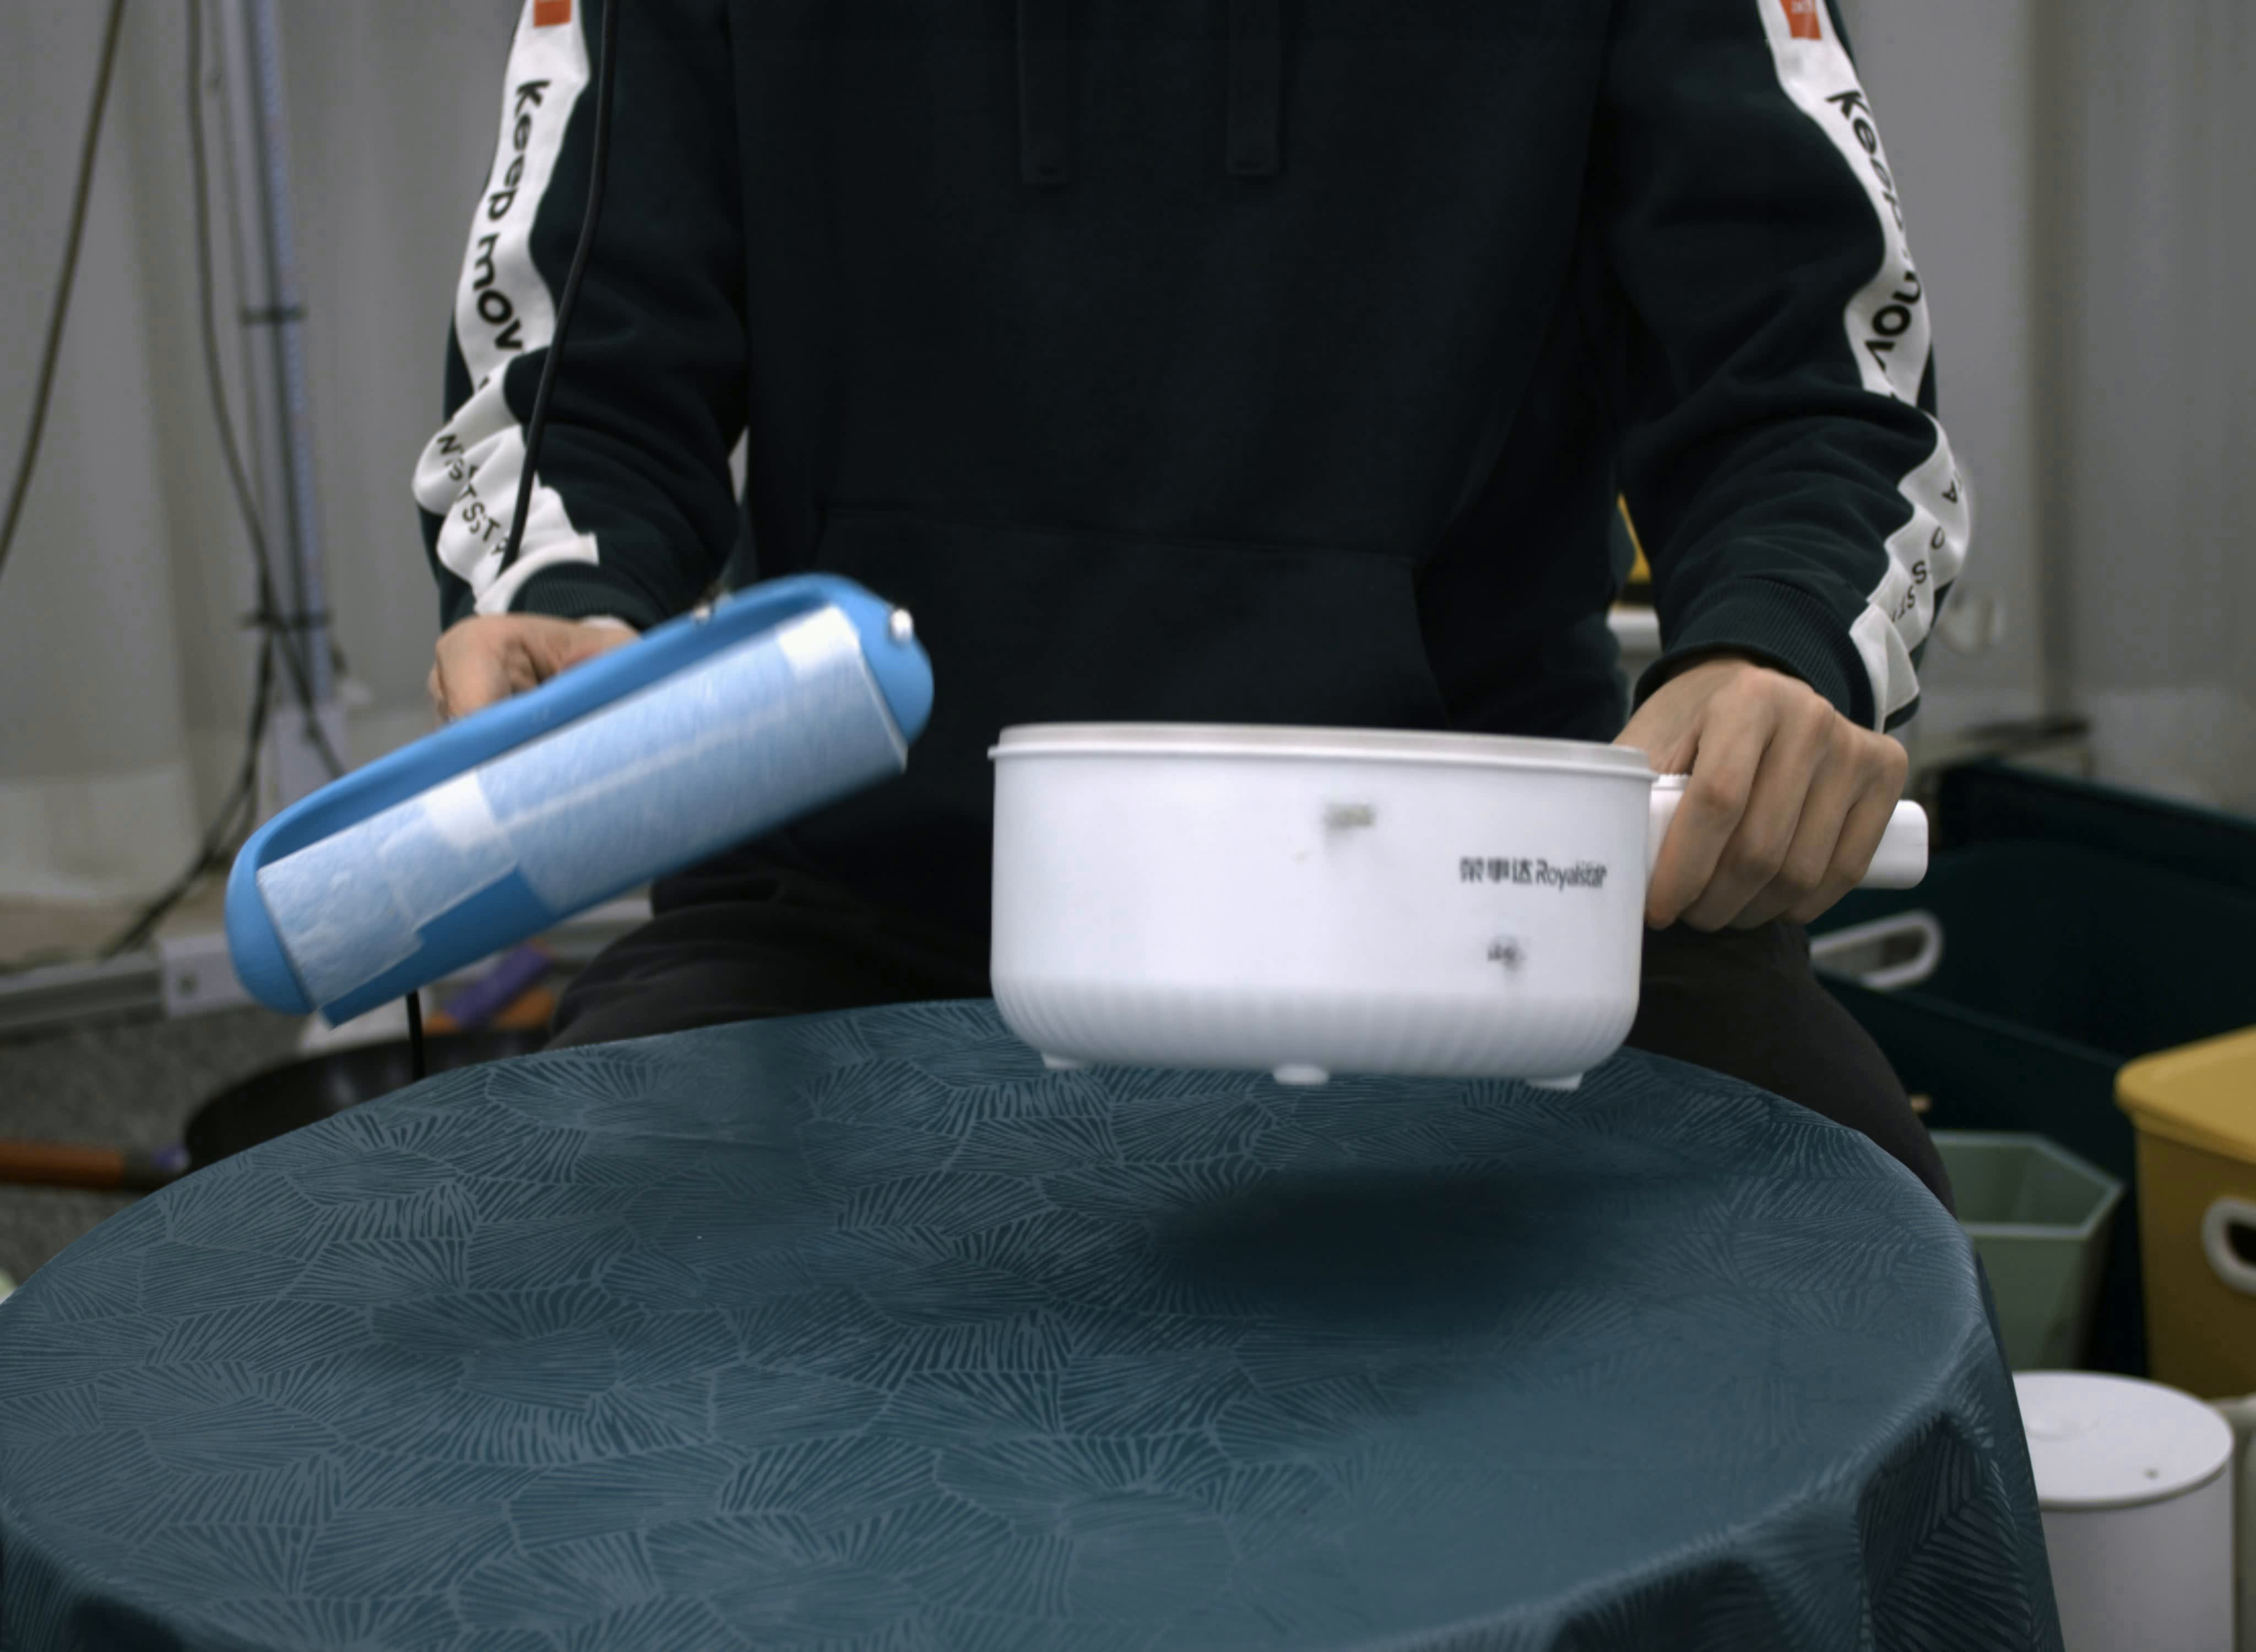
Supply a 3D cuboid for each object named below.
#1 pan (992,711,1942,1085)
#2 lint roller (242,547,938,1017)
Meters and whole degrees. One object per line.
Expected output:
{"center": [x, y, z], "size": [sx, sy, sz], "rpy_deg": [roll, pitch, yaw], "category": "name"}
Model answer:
{"center": [0.116, 0.028, 1.684], "size": [0.352, 0.102, 0.202], "rpy_deg": [5, -4, -40], "category": "pan"}
{"center": [-0.174, -0.019, 1.716], "size": [0.228, 0.067, 0.181], "rpy_deg": [-29, 13, -7], "category": "lint roller"}
